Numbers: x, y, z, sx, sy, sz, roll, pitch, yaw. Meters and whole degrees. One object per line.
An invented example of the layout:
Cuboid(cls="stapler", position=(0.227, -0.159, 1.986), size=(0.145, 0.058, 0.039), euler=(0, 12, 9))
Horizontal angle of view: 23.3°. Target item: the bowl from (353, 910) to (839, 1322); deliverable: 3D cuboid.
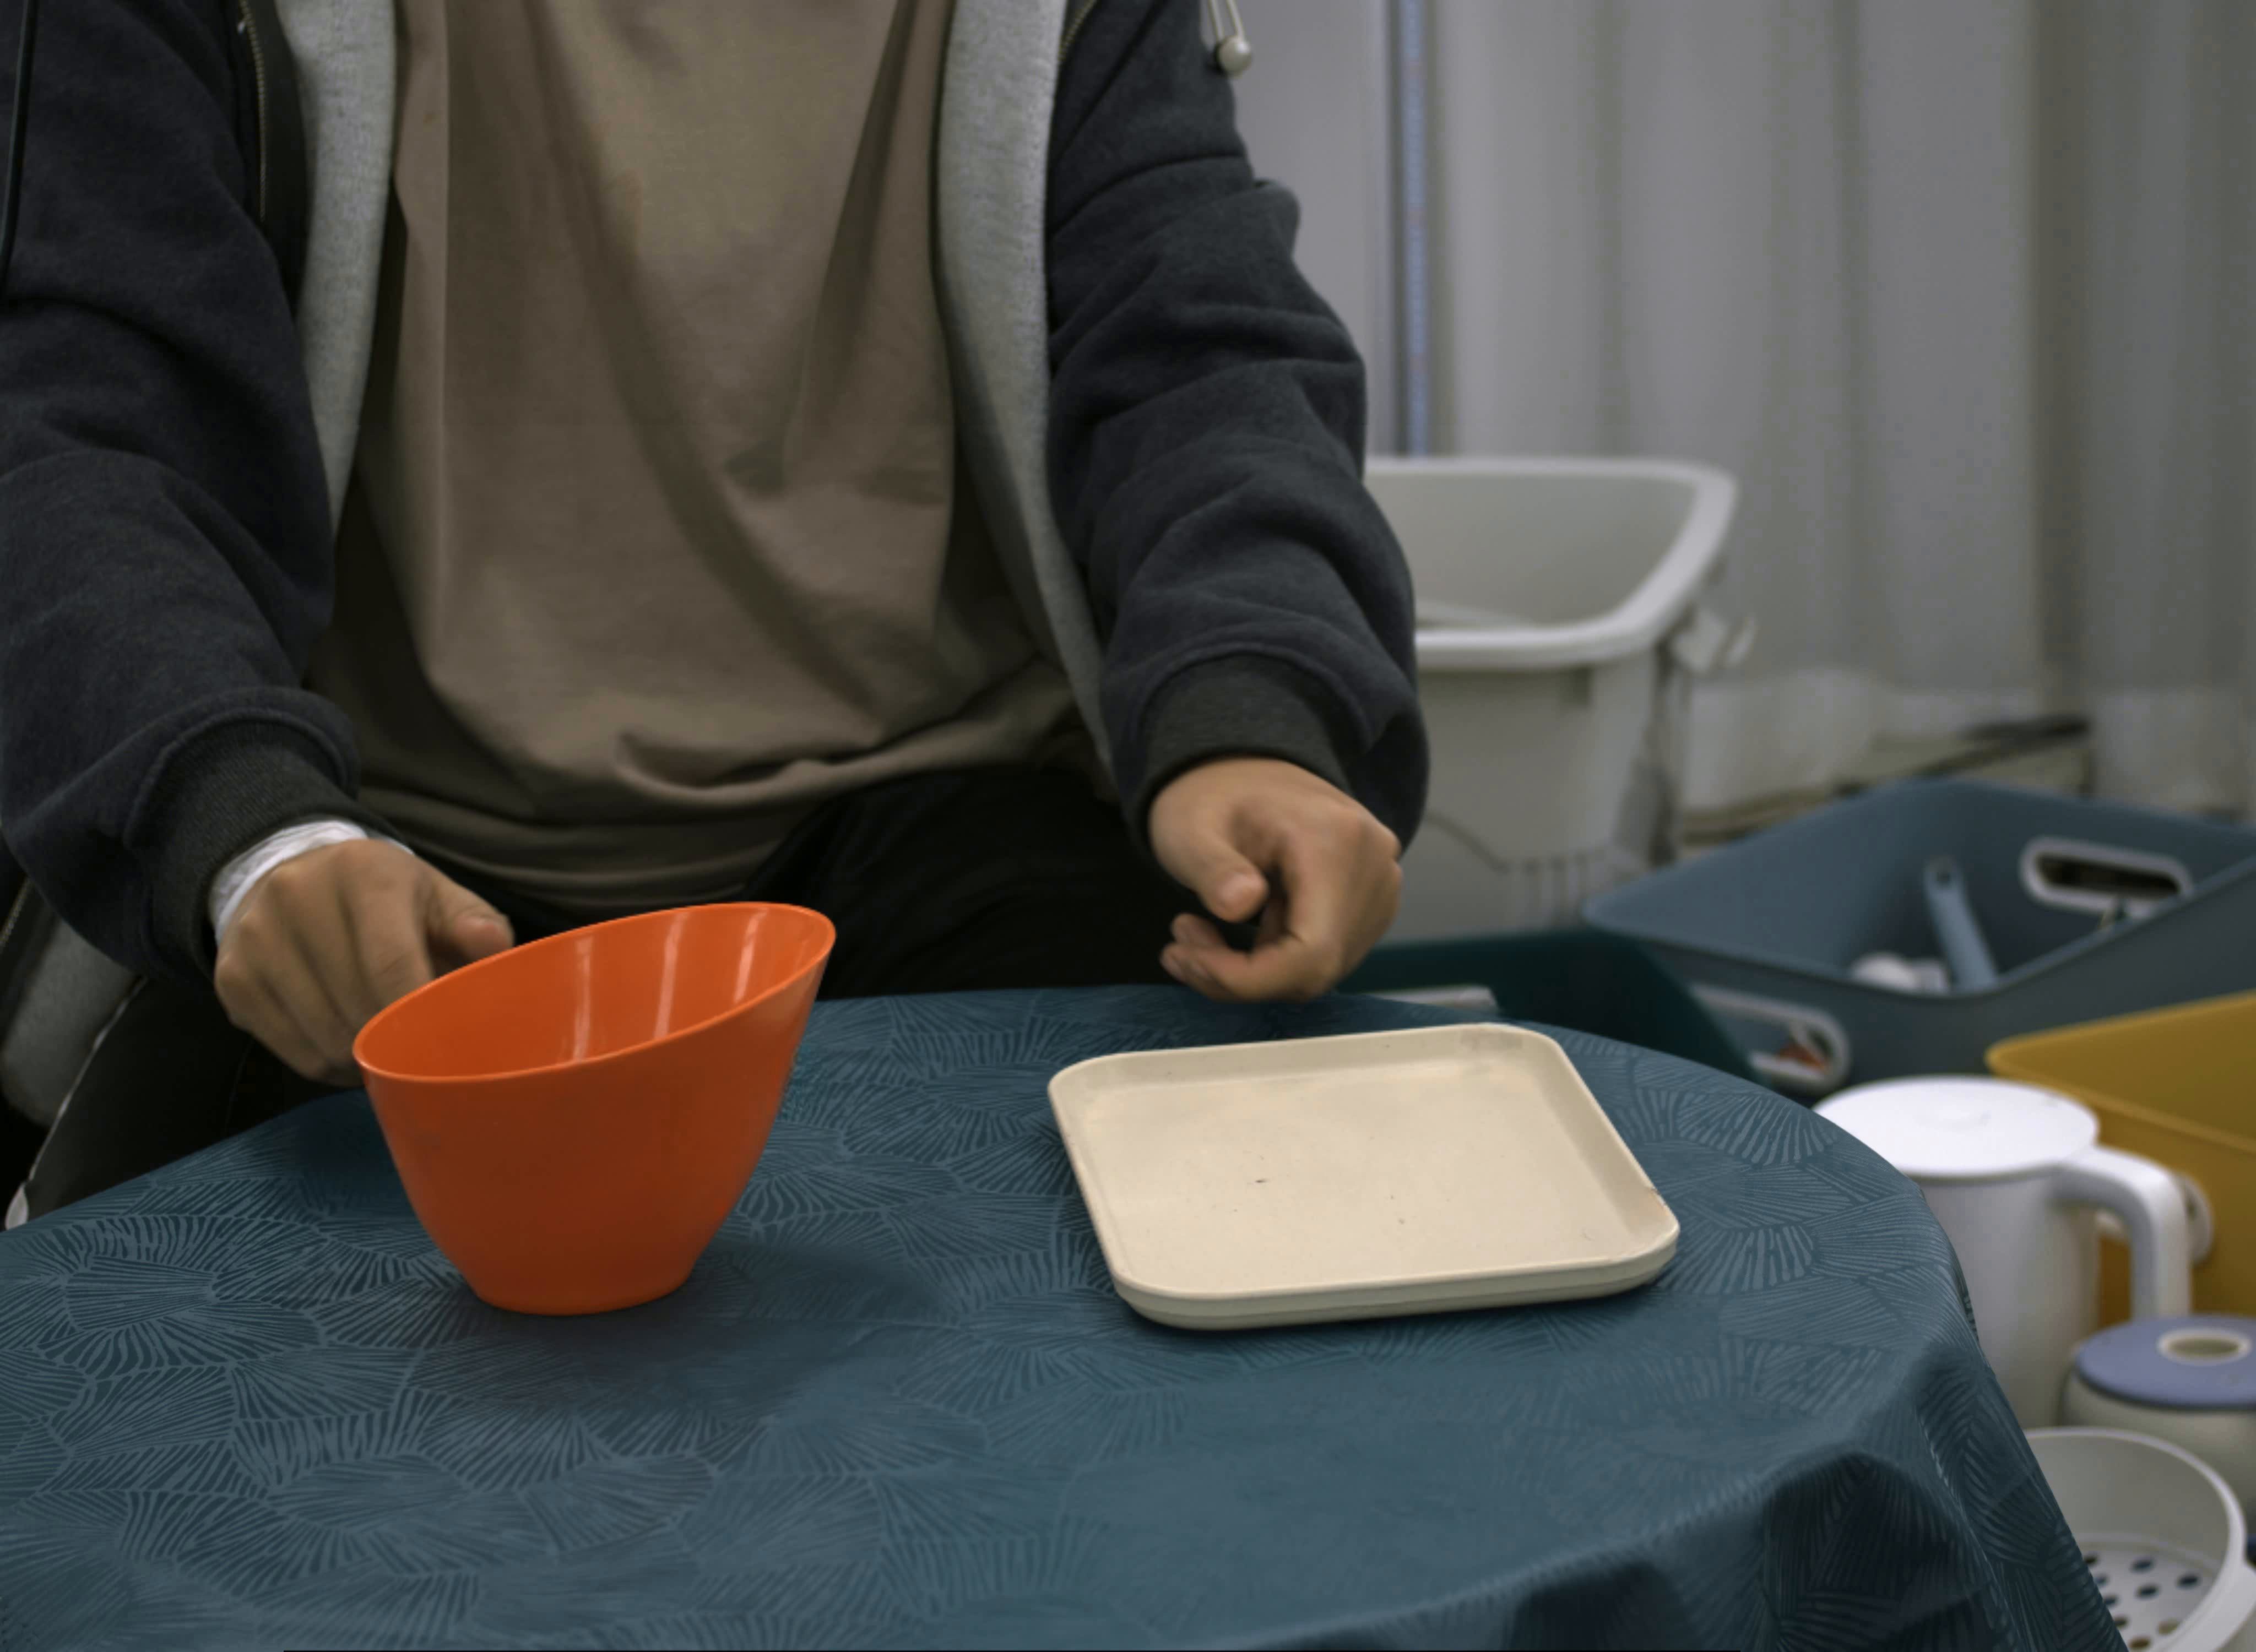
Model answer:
Cuboid(cls="bowl", position=(-0.157, 0.089, 1.648), size=(0.147, 0.104, 0.149), euler=(-3, 15, 0))

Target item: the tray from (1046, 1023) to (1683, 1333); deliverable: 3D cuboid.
Cuboid(cls="tray", position=(0.069, 0.108, 1.694), size=(0.170, 0.017, 0.241), euler=(-5, 15, -6))
